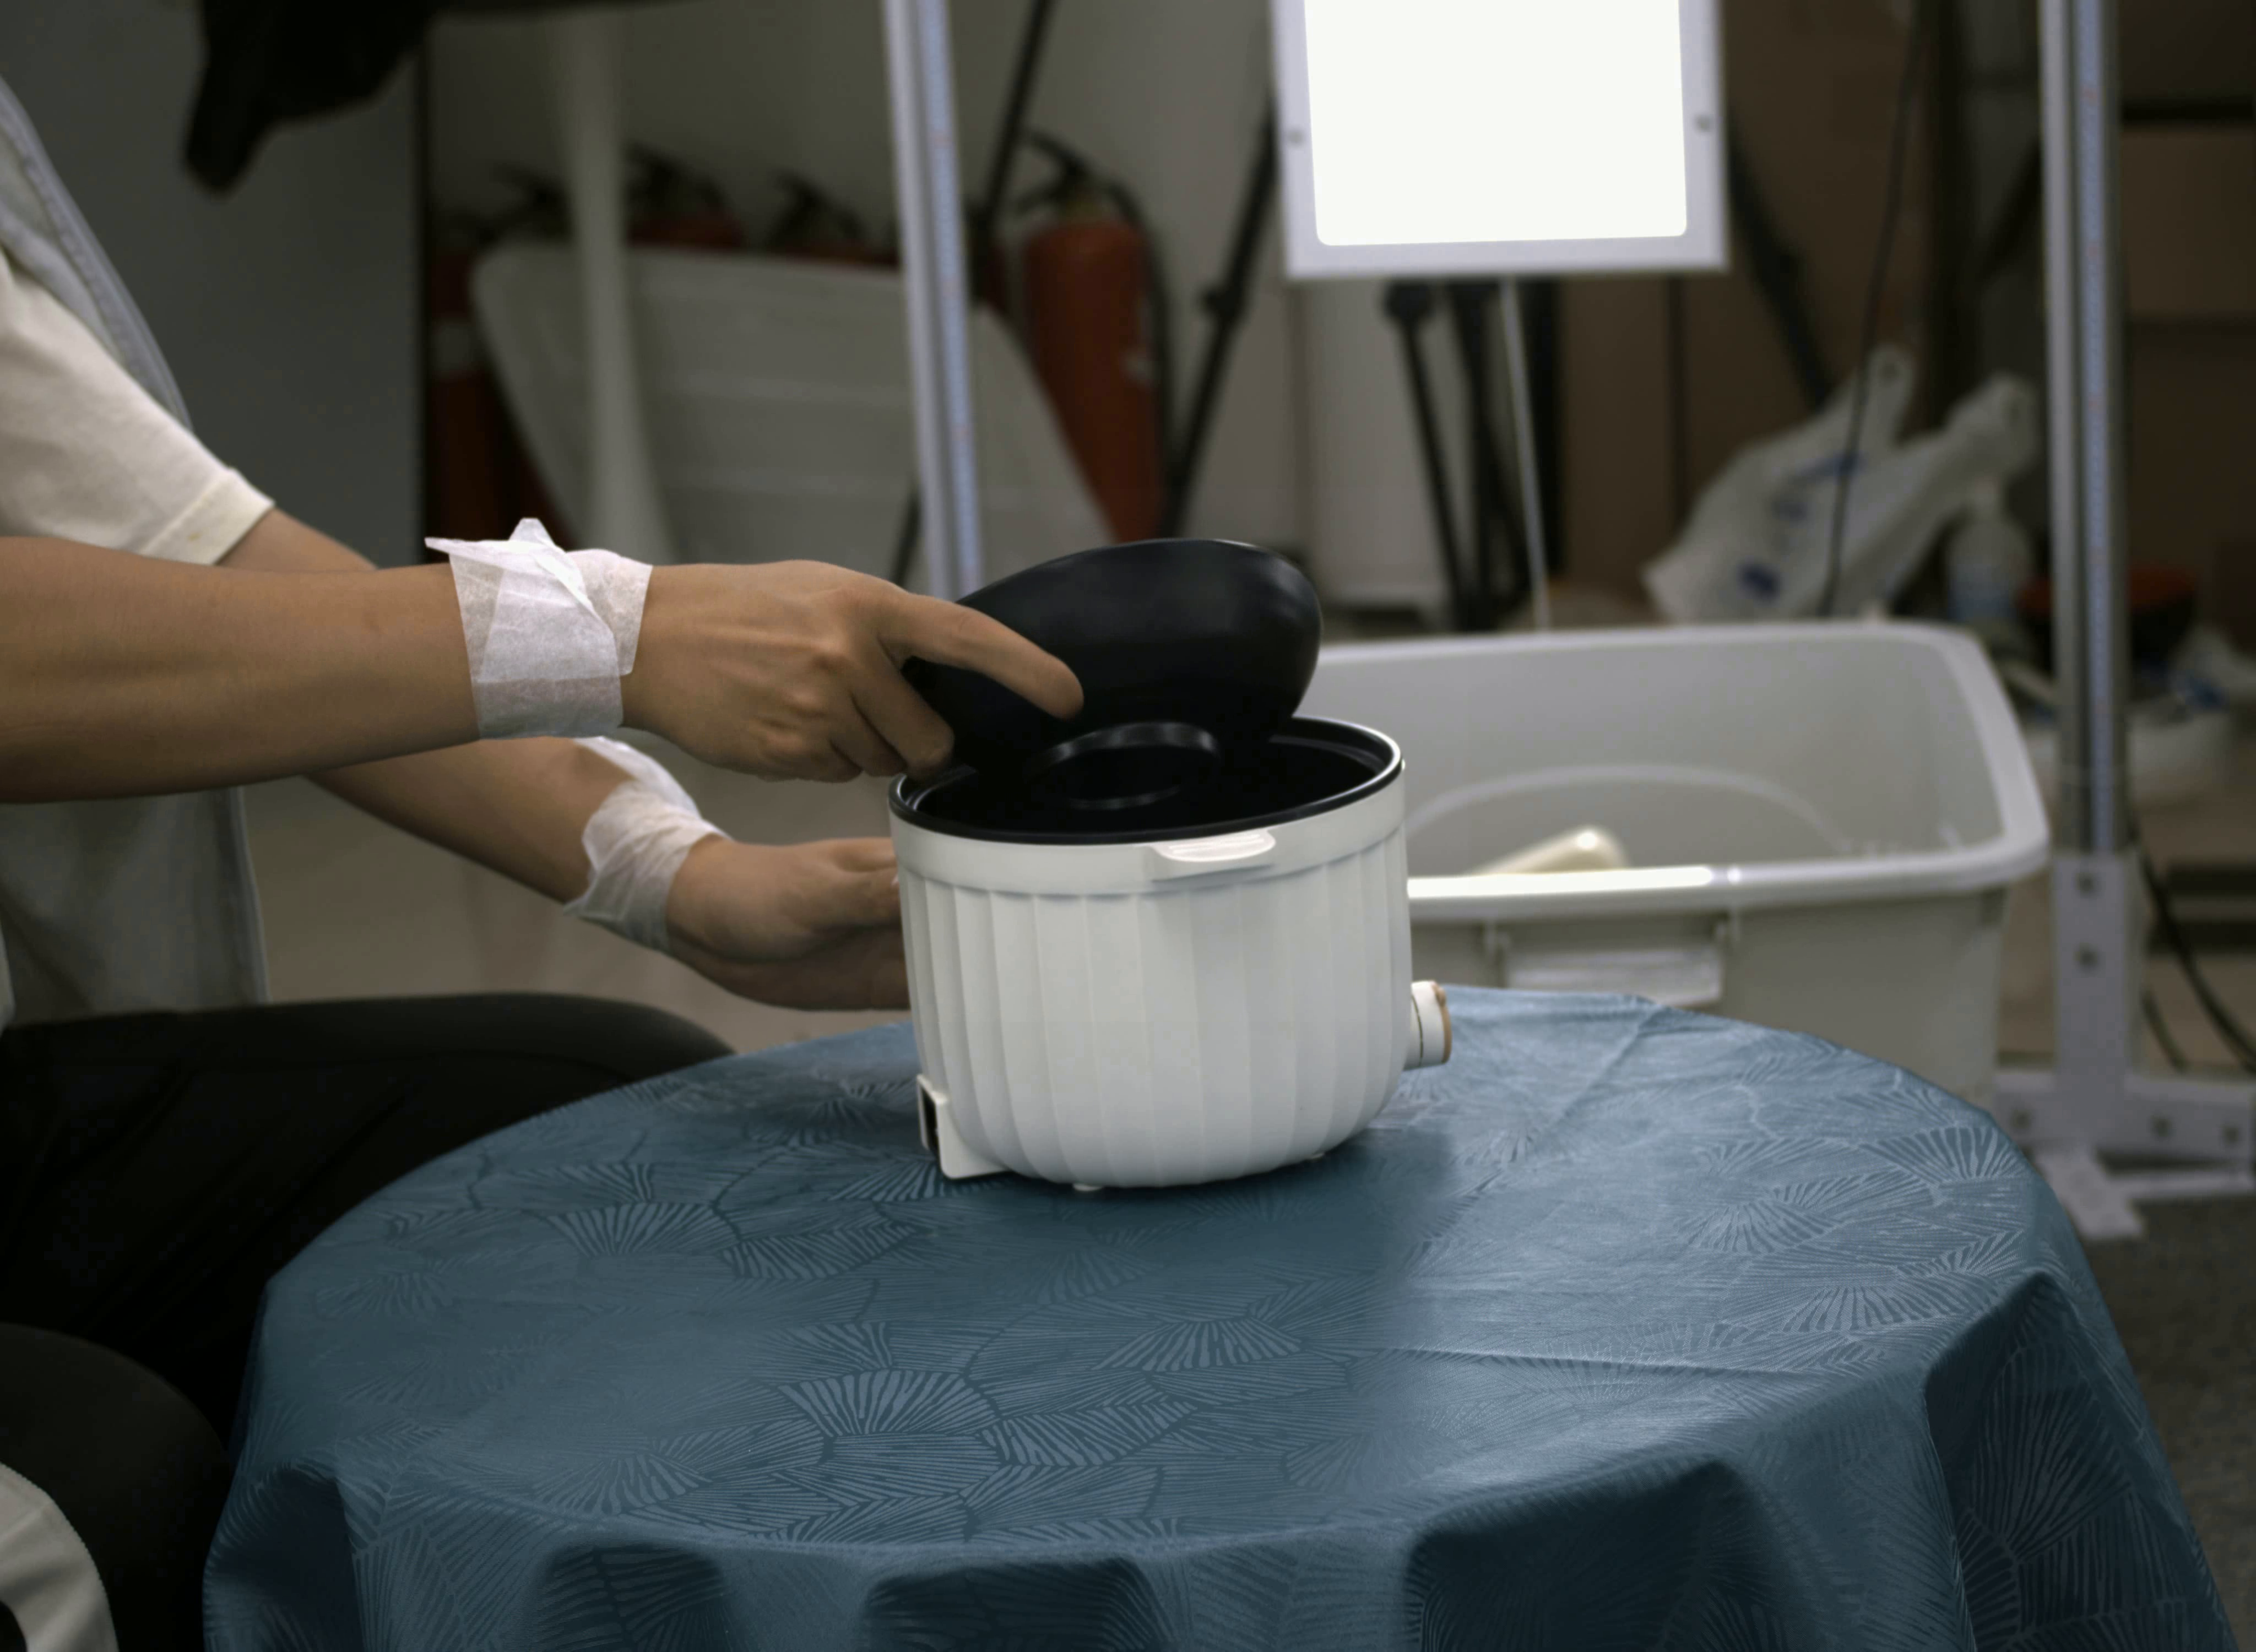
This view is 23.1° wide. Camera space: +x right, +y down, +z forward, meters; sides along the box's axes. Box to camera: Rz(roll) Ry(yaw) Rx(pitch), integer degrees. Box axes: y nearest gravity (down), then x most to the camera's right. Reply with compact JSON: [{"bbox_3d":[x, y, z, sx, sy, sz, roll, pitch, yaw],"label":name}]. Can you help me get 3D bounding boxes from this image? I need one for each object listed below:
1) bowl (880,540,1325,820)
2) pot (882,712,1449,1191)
[{"bbox_3d":[-0.004,-0.044,1.910,0.166,0.067,0.140,8,-27,-38],"label":"bowl"},{"bbox_3d":[0.015,0.044,1.939,0.188,0.143,0.242,-11,15,-11],"label":"pot"}]
